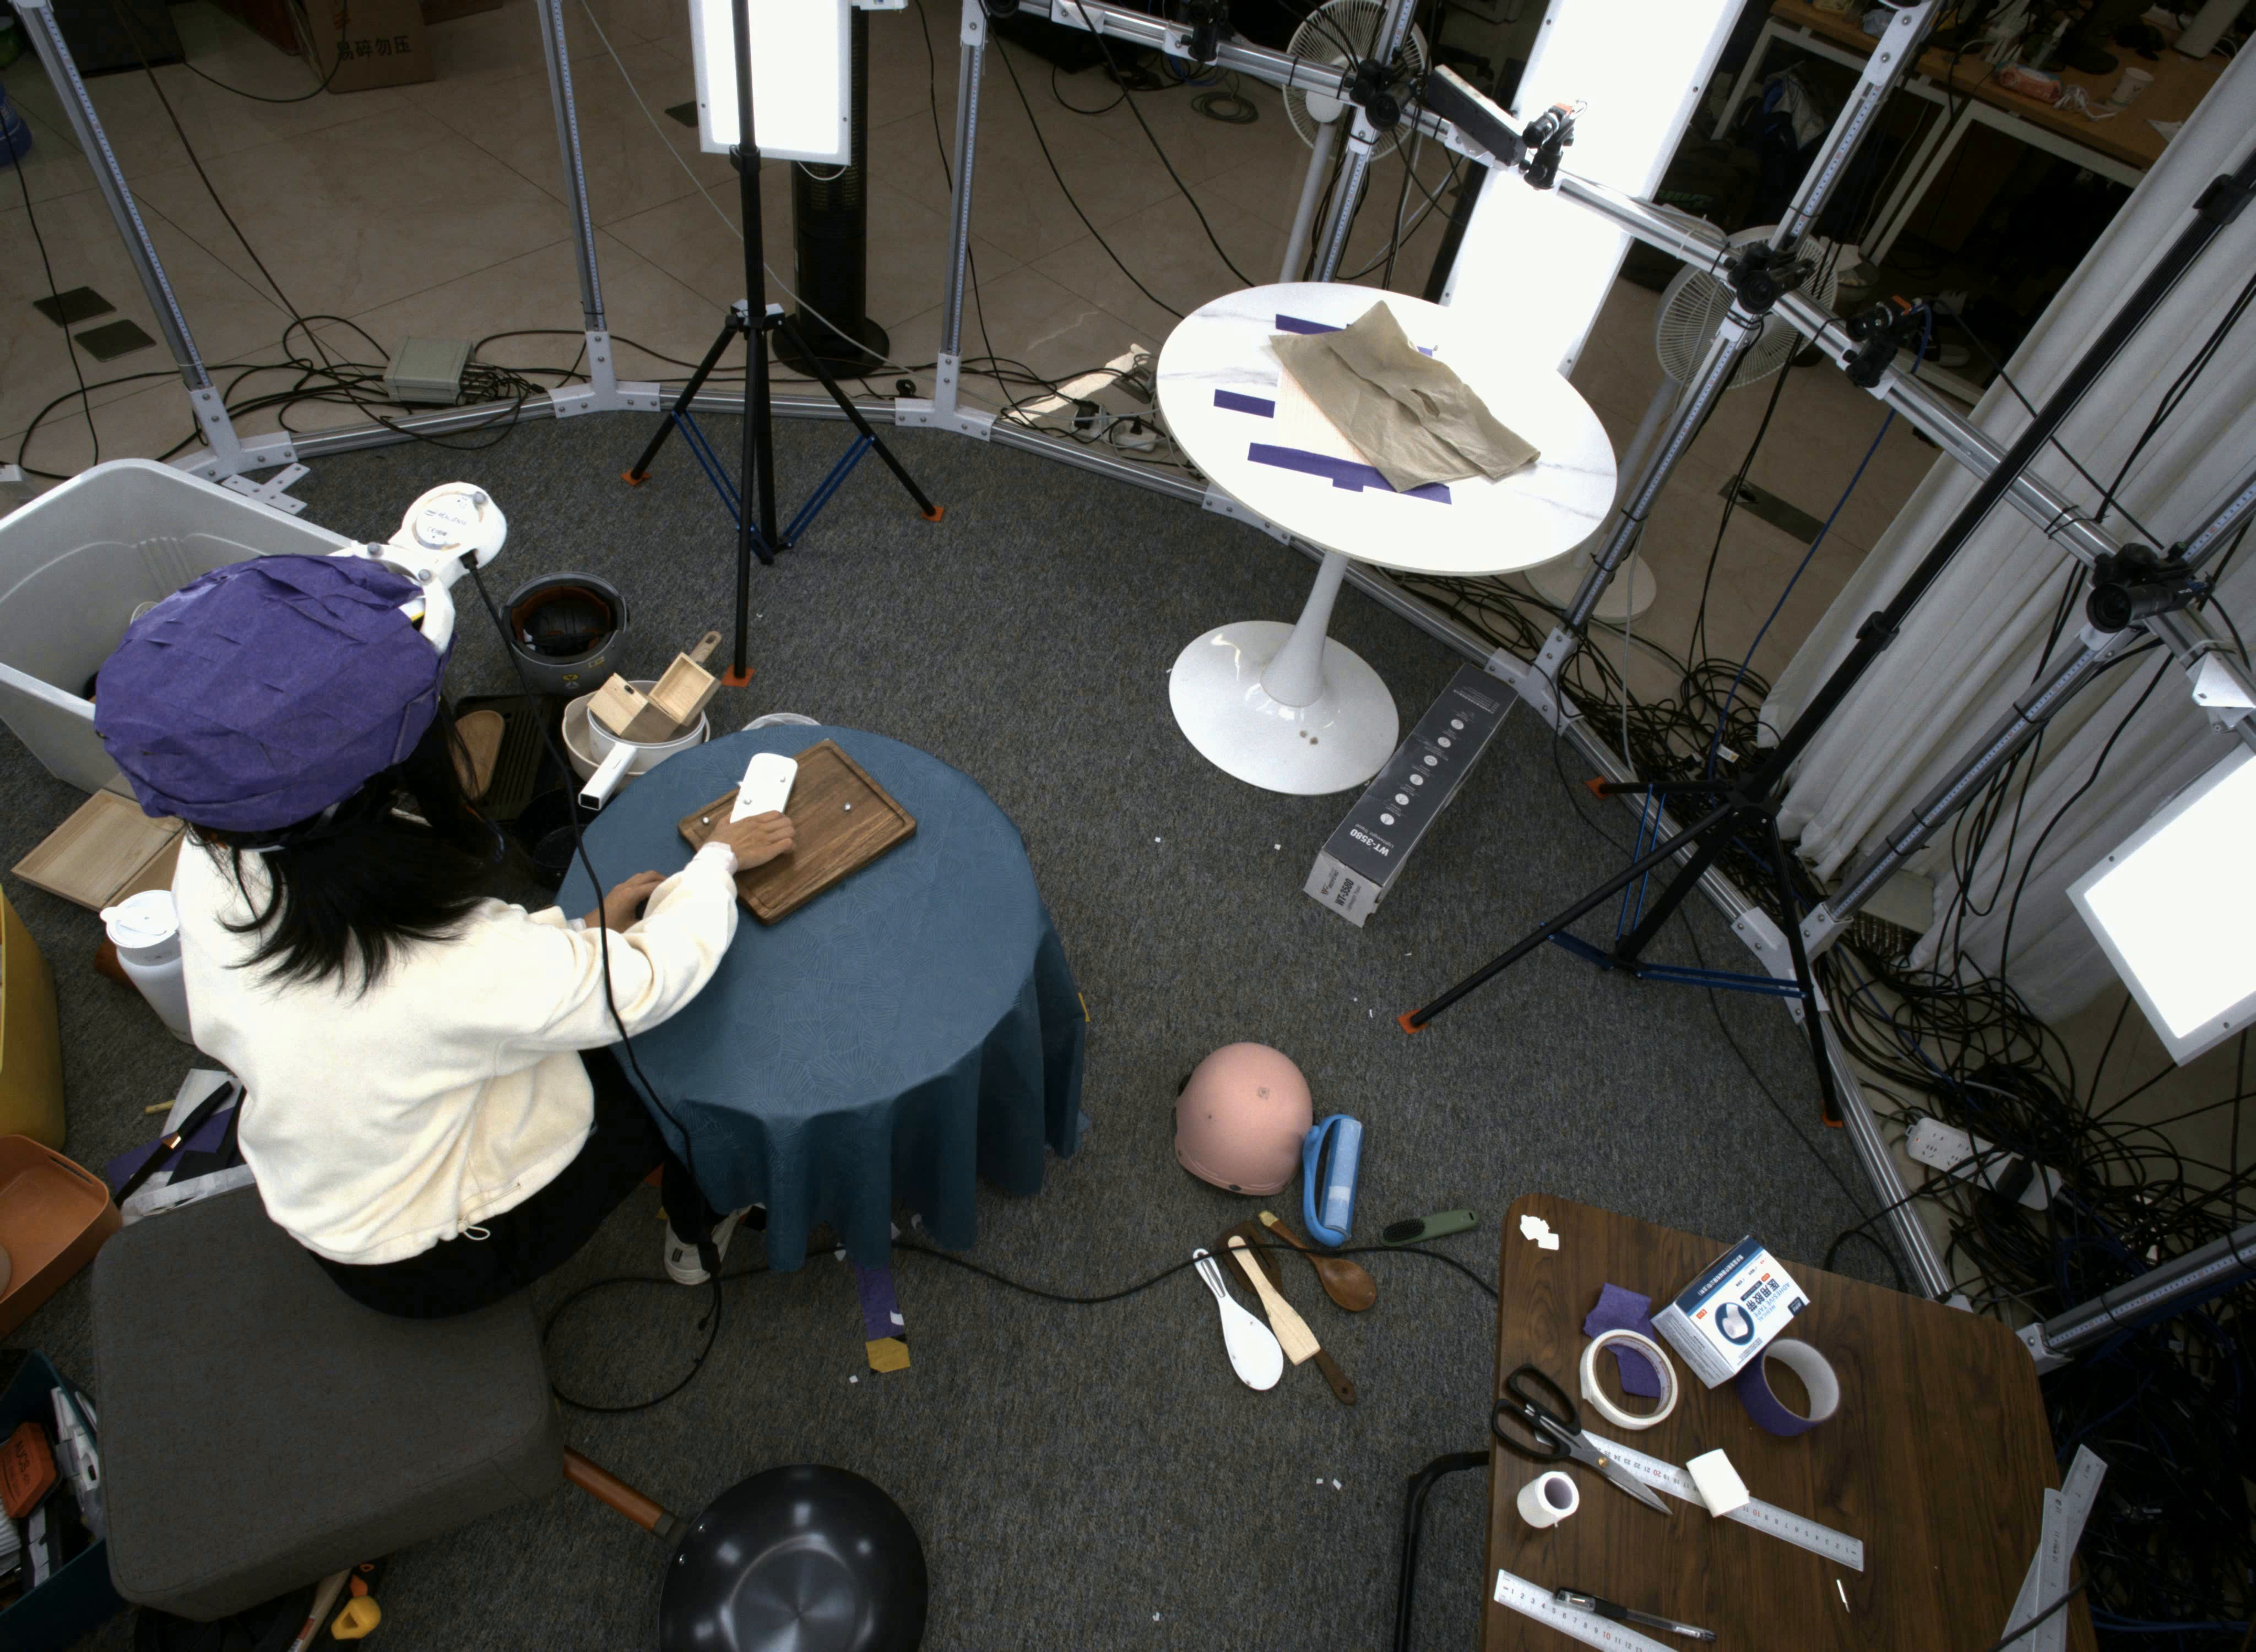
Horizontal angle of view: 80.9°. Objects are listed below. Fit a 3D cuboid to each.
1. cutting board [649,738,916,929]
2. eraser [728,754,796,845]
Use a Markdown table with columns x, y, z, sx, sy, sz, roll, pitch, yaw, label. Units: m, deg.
| x | y | z | sx | sy | sz | roll | pitch | yaw | label |
| --- | --- | --- | --- | --- | --- | --- | --- | --- | --- |
| -0.468 | 0.025 | 1.675 | 0.196 | 0.023 | 0.353 | 41 | 54 | 17 | cutting board |
| -0.478 | -0.039 | 1.691 | 0.063 | 0.035 | 0.129 | 13 | 53 | -5 | eraser |
